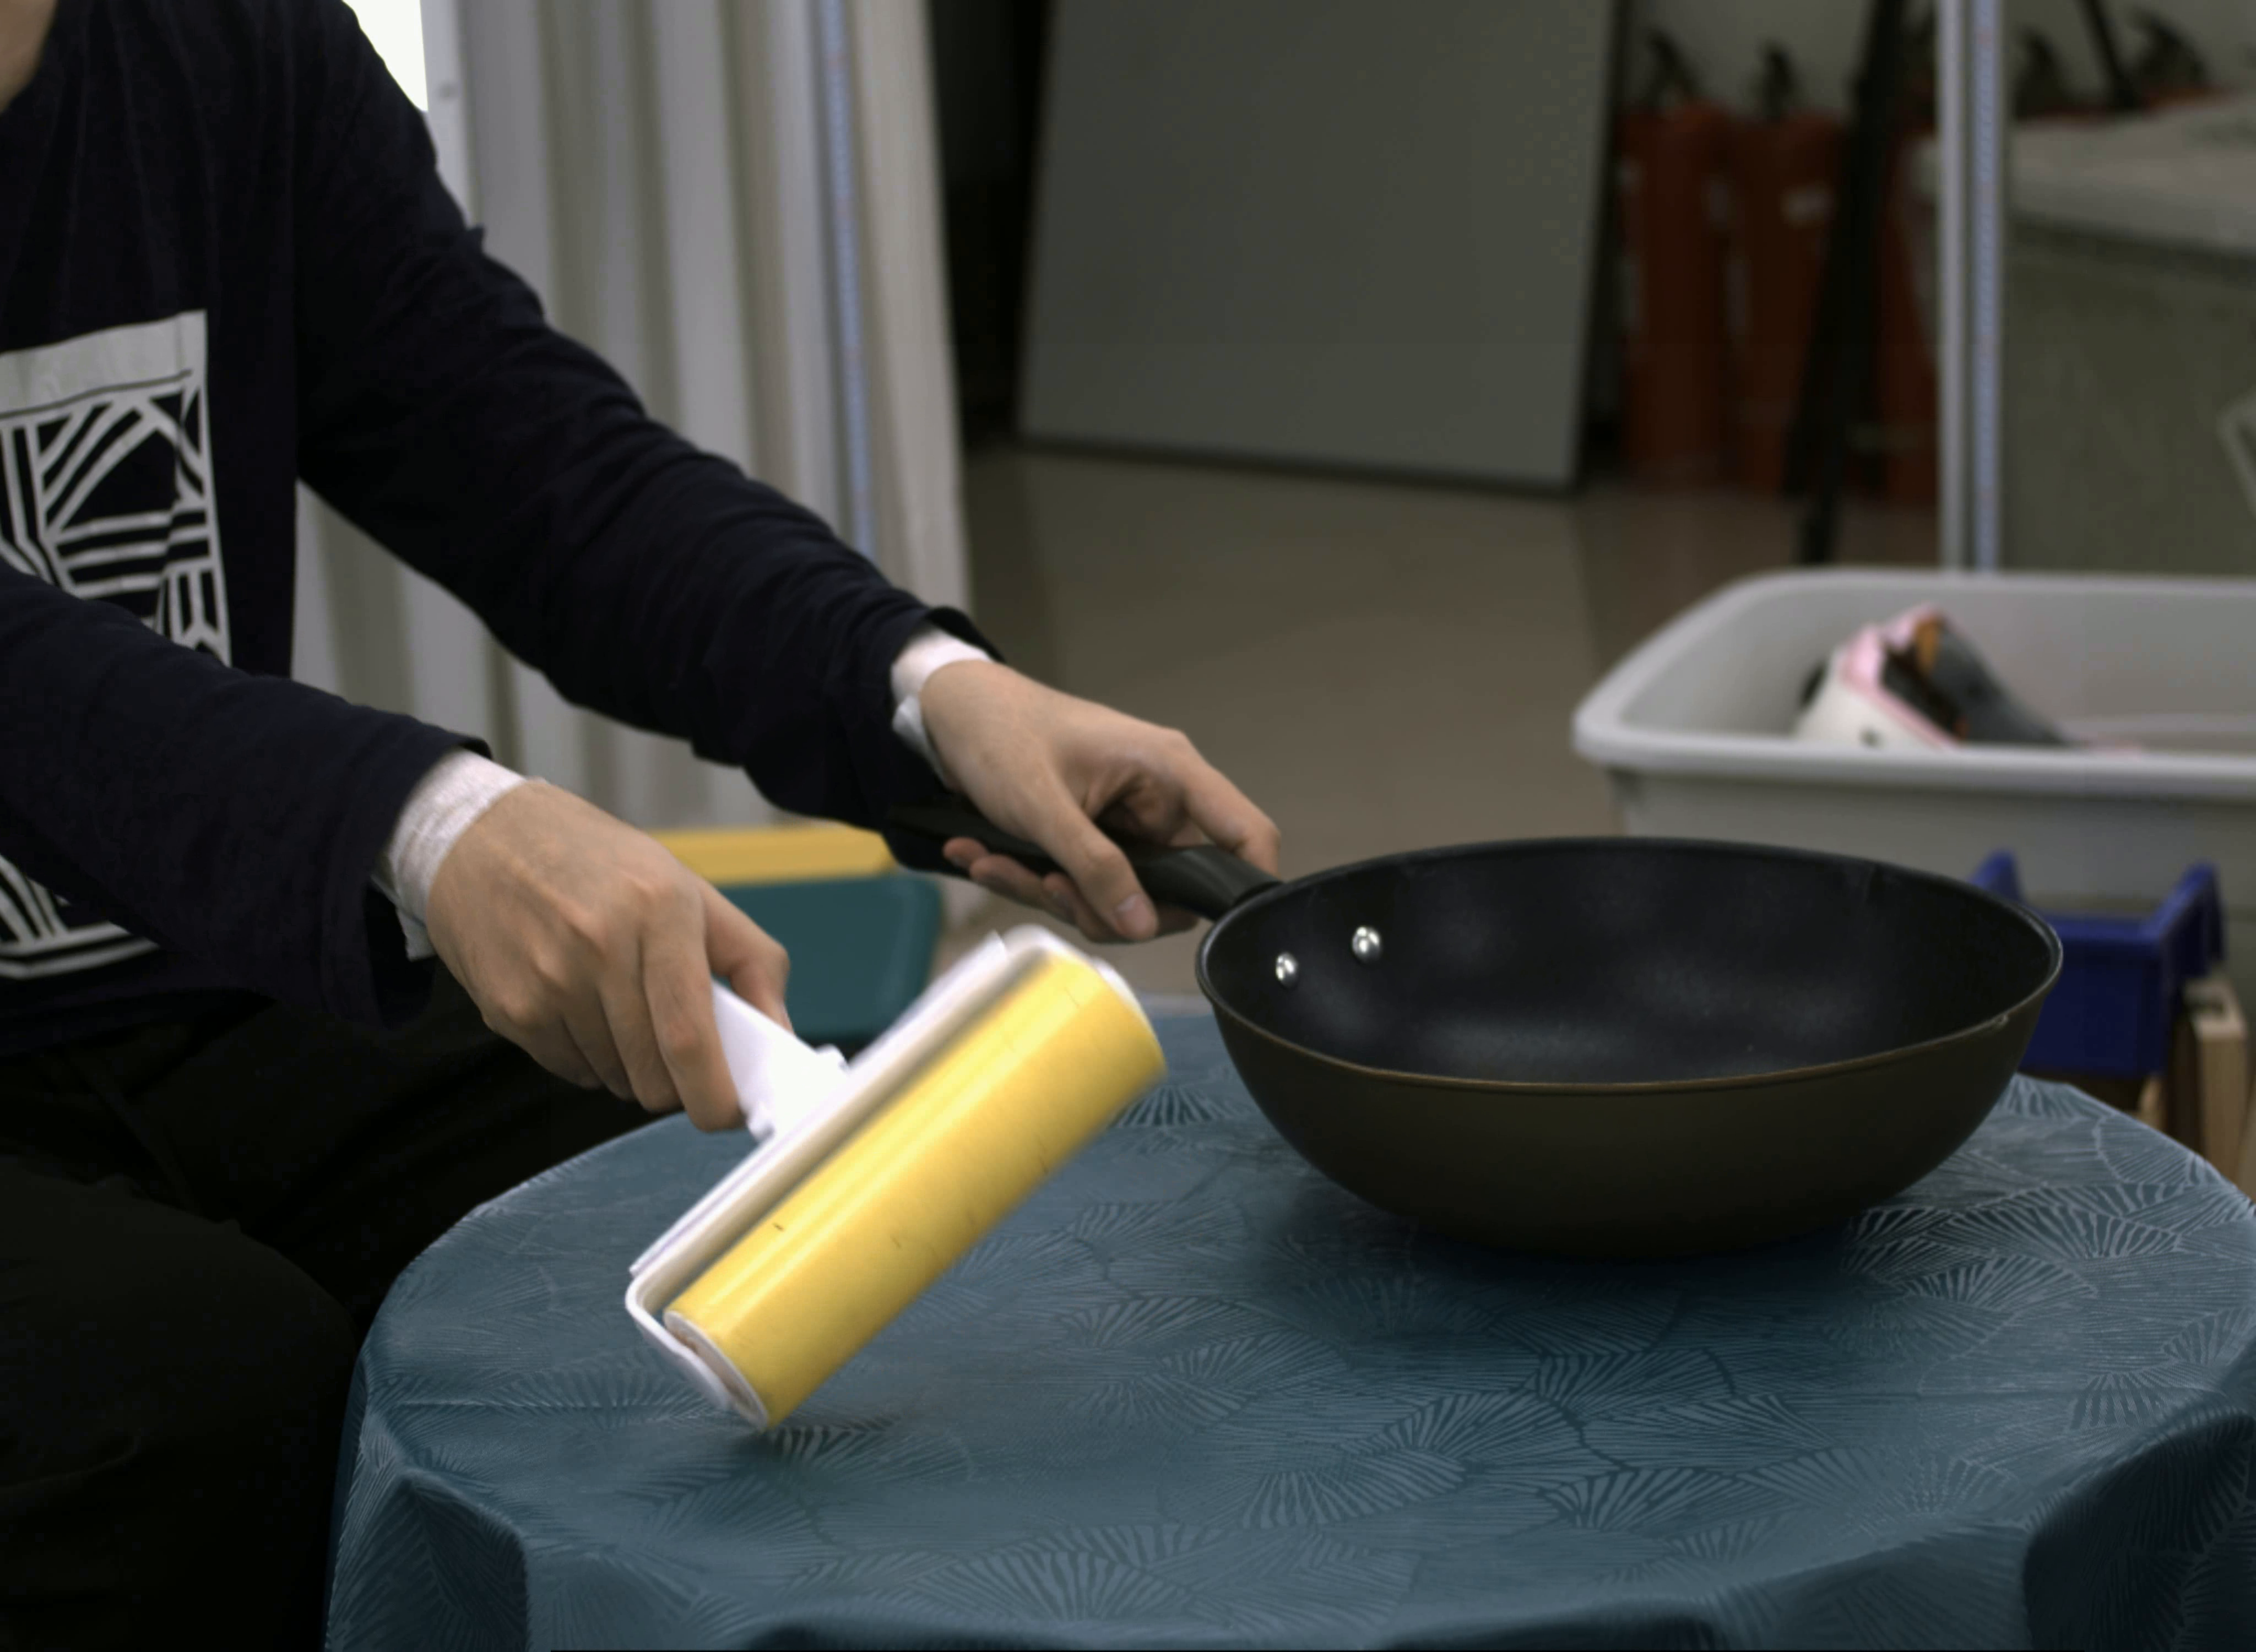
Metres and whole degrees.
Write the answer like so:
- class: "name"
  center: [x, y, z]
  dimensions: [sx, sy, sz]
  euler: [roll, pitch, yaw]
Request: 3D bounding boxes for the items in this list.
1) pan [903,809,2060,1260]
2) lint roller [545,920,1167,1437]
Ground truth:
- class: "pan"
  center: [0.091, 0.064, 1.788]
  dimensions: [0.467, 0.088, 0.282]
  euler: [10, 18, 42]
- class: "lint roller"
  center: [-0.110, 0.072, 1.604]
  dimensions: [0.173, 0.051, 0.194]
  euler: [-41, 57, -21]
